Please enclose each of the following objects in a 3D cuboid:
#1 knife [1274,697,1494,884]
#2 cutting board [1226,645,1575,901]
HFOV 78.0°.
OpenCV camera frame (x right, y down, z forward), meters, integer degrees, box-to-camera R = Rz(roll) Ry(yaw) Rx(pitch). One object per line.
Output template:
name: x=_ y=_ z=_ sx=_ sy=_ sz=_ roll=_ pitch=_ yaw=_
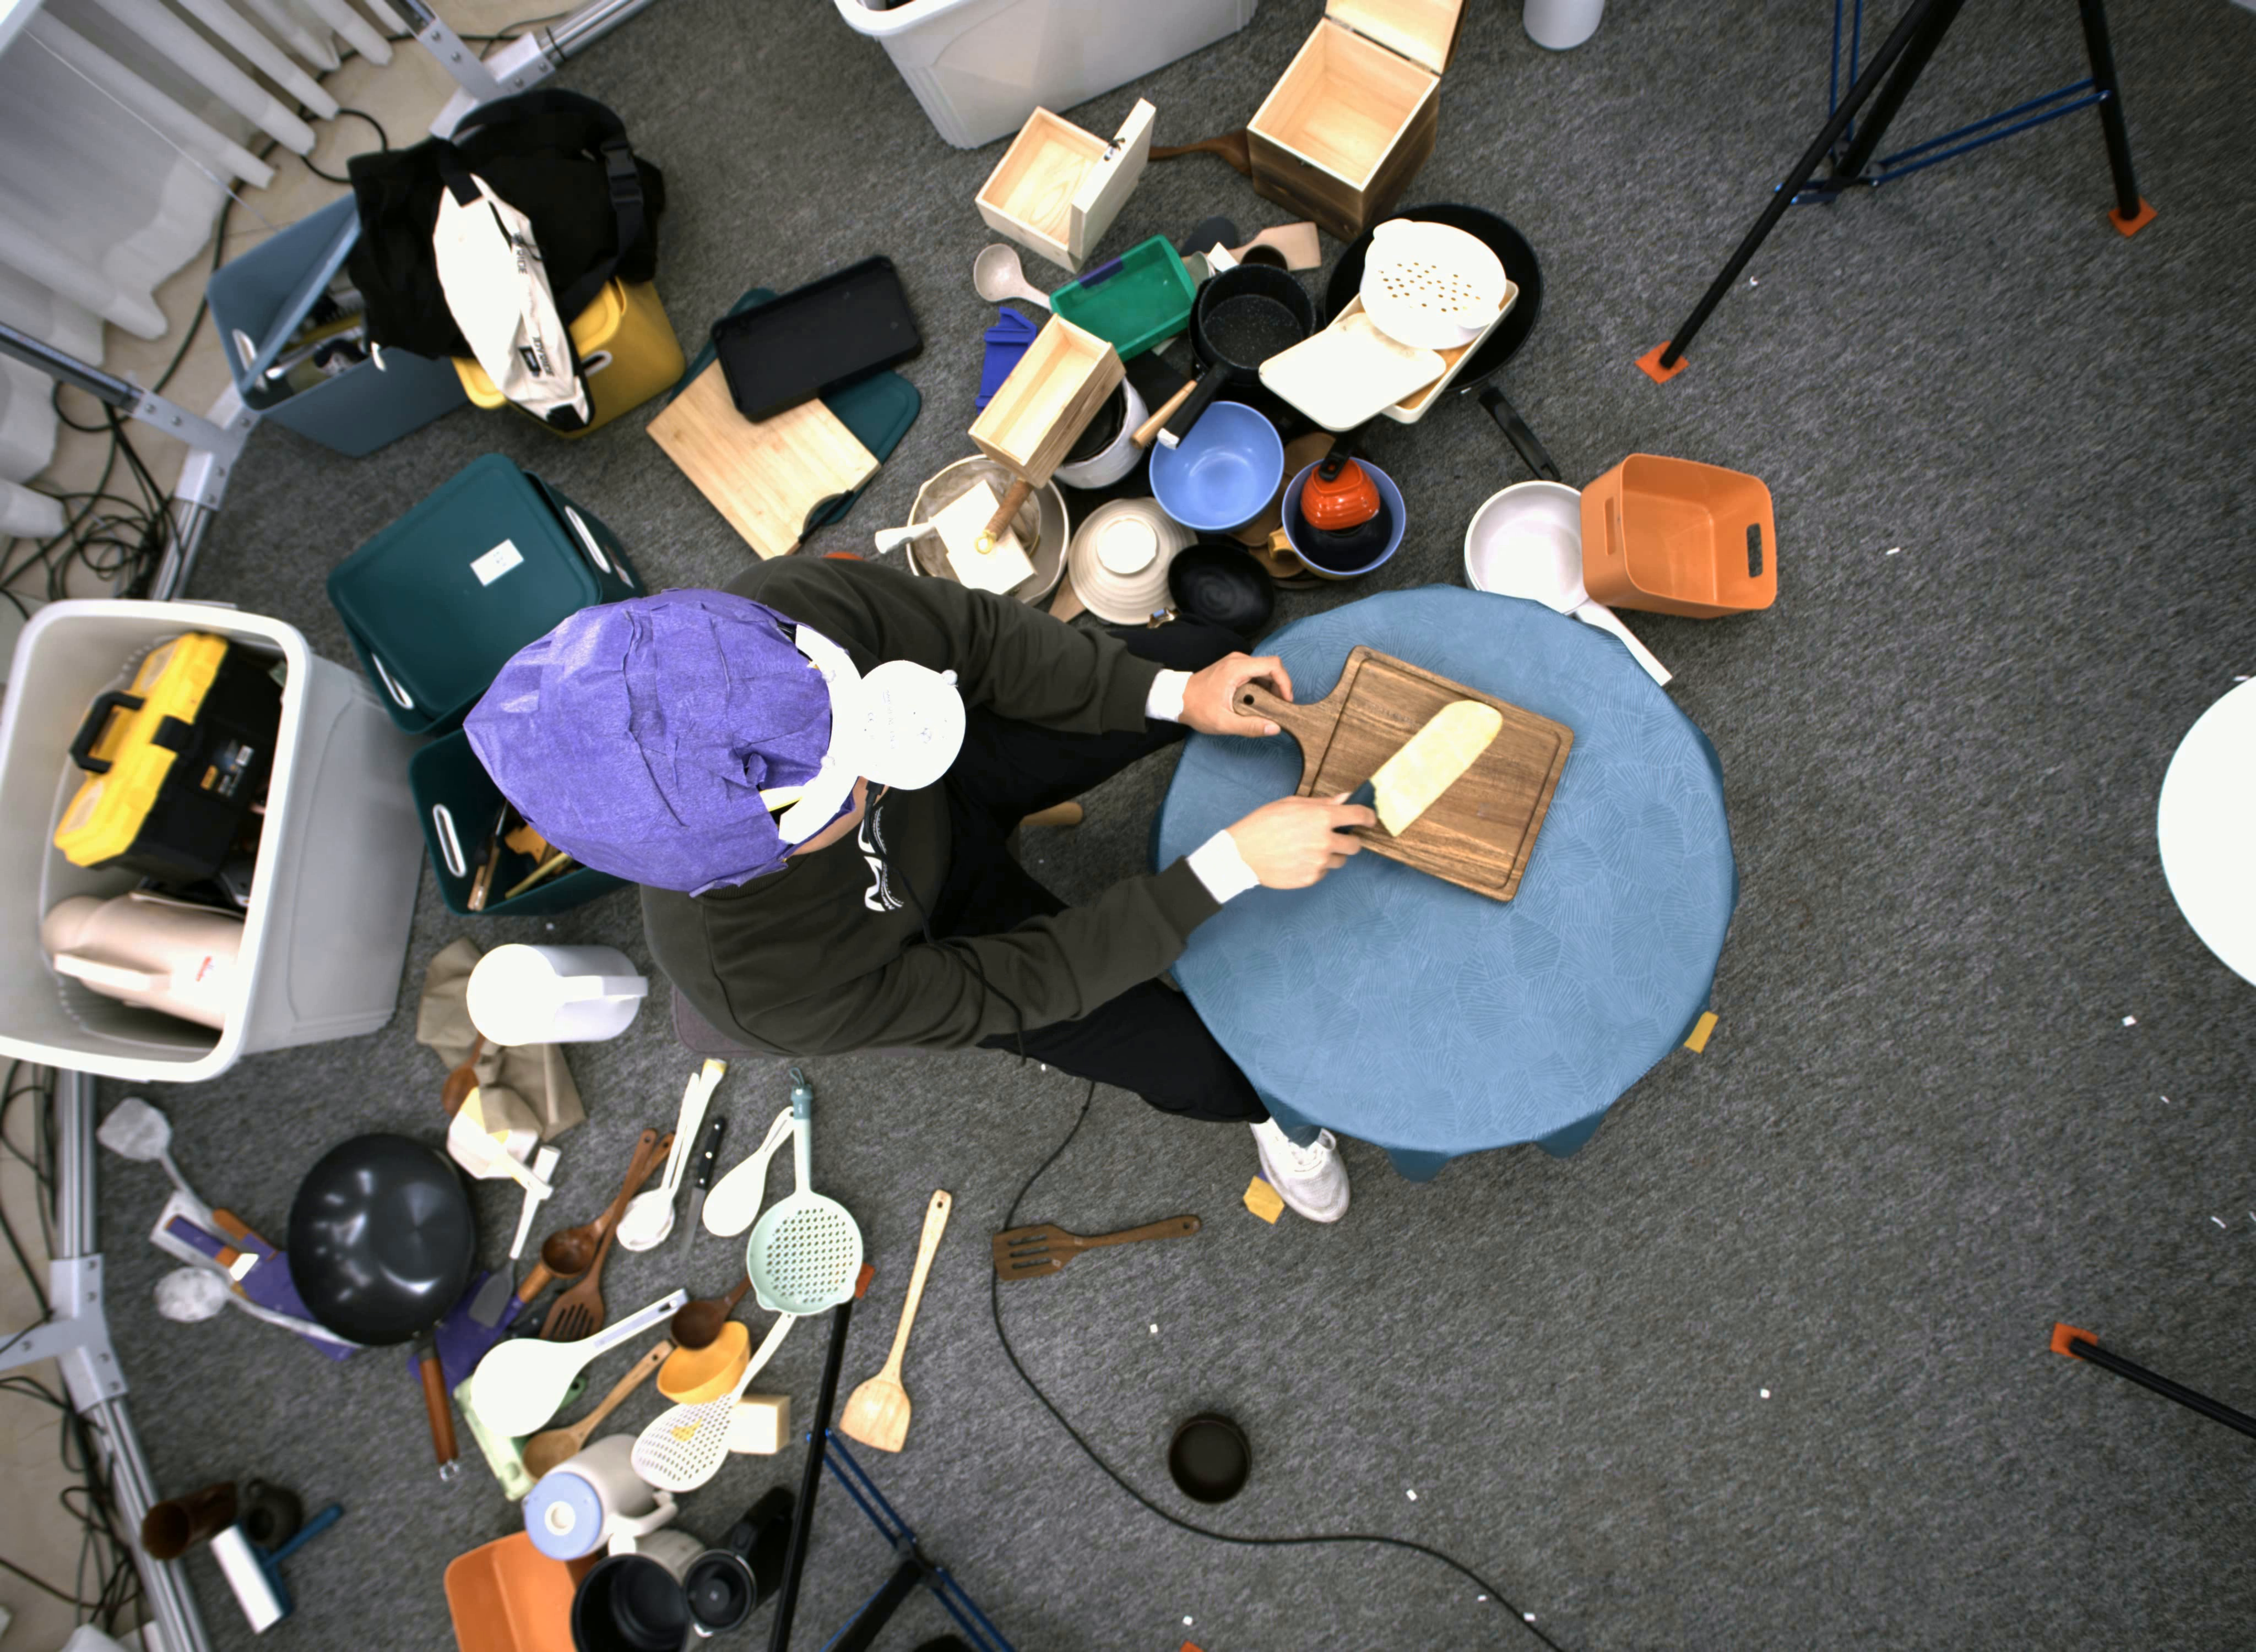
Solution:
knife: x=0.264 y=-0.032 z=1.396 sx=0.289 sy=0.027 sz=0.082 roll=-40 pitch=115 yaw=-3
cutting board: x=0.269 y=-0.074 z=1.425 sx=0.352 sy=0.023 sz=0.201 roll=21 pitch=91 yaw=0
